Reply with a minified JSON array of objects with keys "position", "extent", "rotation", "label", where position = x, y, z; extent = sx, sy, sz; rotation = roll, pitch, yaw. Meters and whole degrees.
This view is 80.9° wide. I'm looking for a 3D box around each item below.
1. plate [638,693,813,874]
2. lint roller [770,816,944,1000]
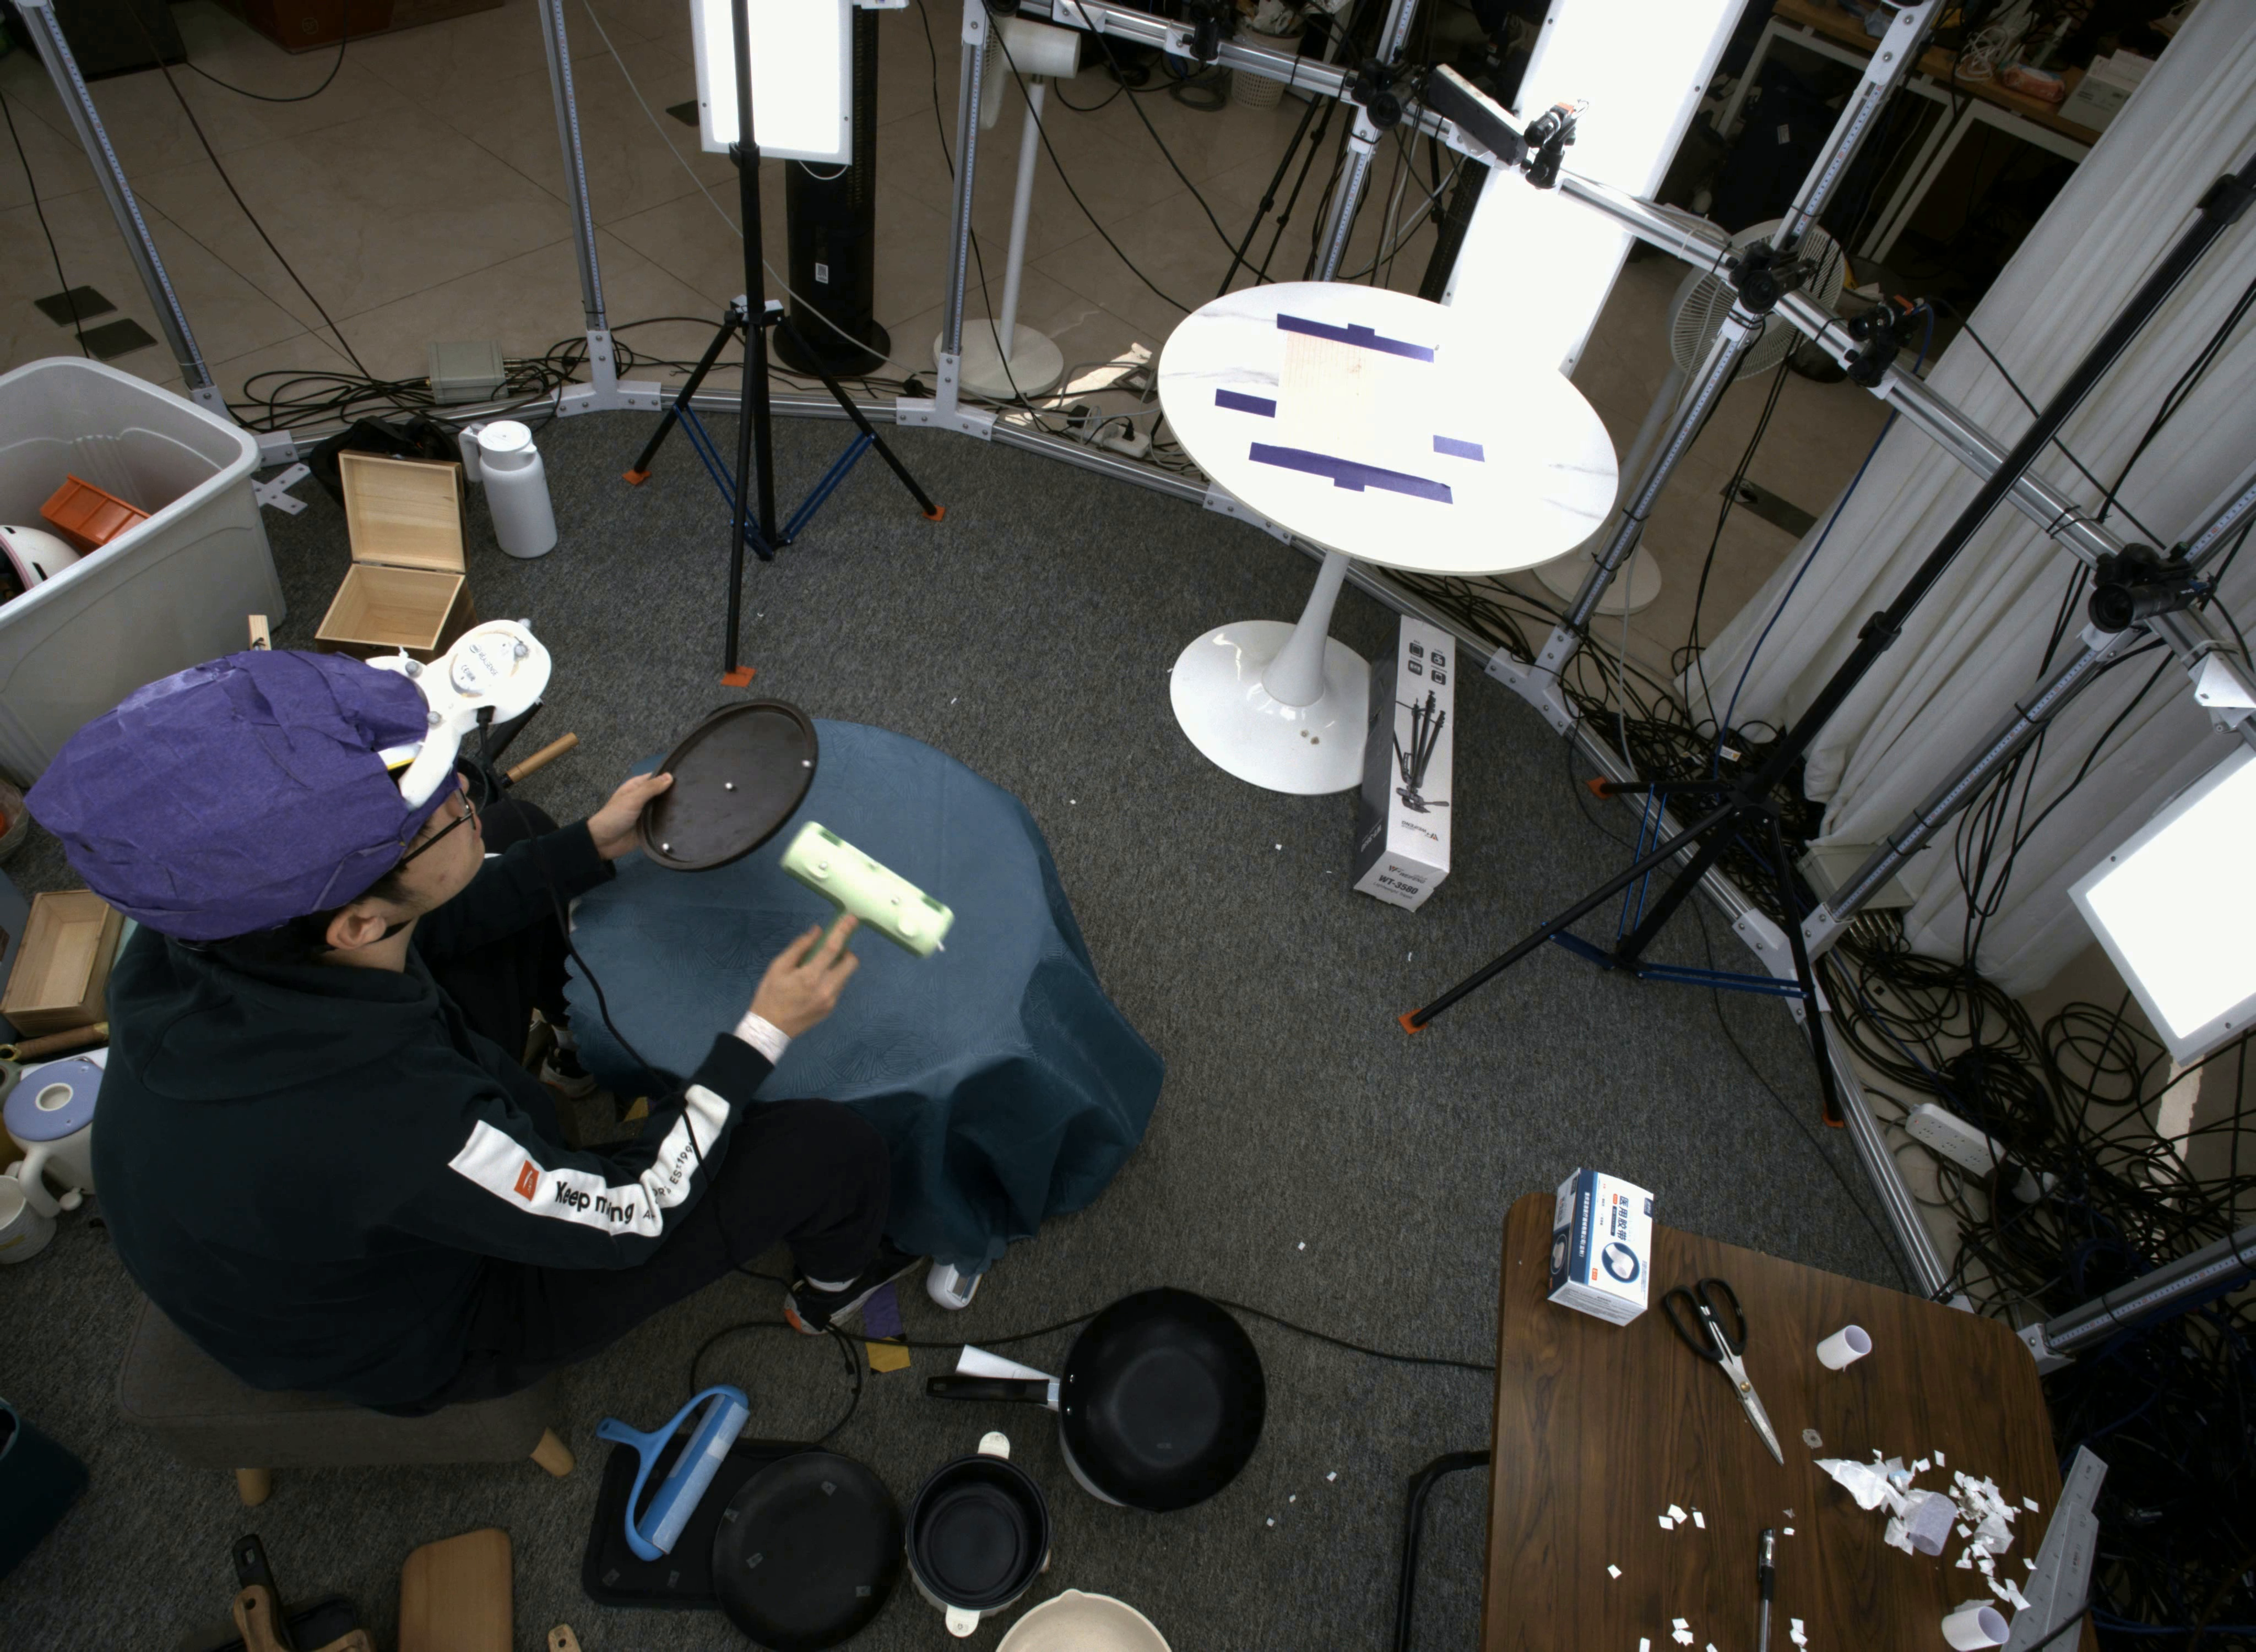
[{"position":[-0.482,-0.053,1.545],"extent":[0.249,0.030,0.250],"rotation":[-12,54,18],"label":"plate"},{"position":[-0.330,0.114,1.444],"extent":[0.202,0.080,0.184],"rotation":[34,82,-19],"label":"lint roller"}]
